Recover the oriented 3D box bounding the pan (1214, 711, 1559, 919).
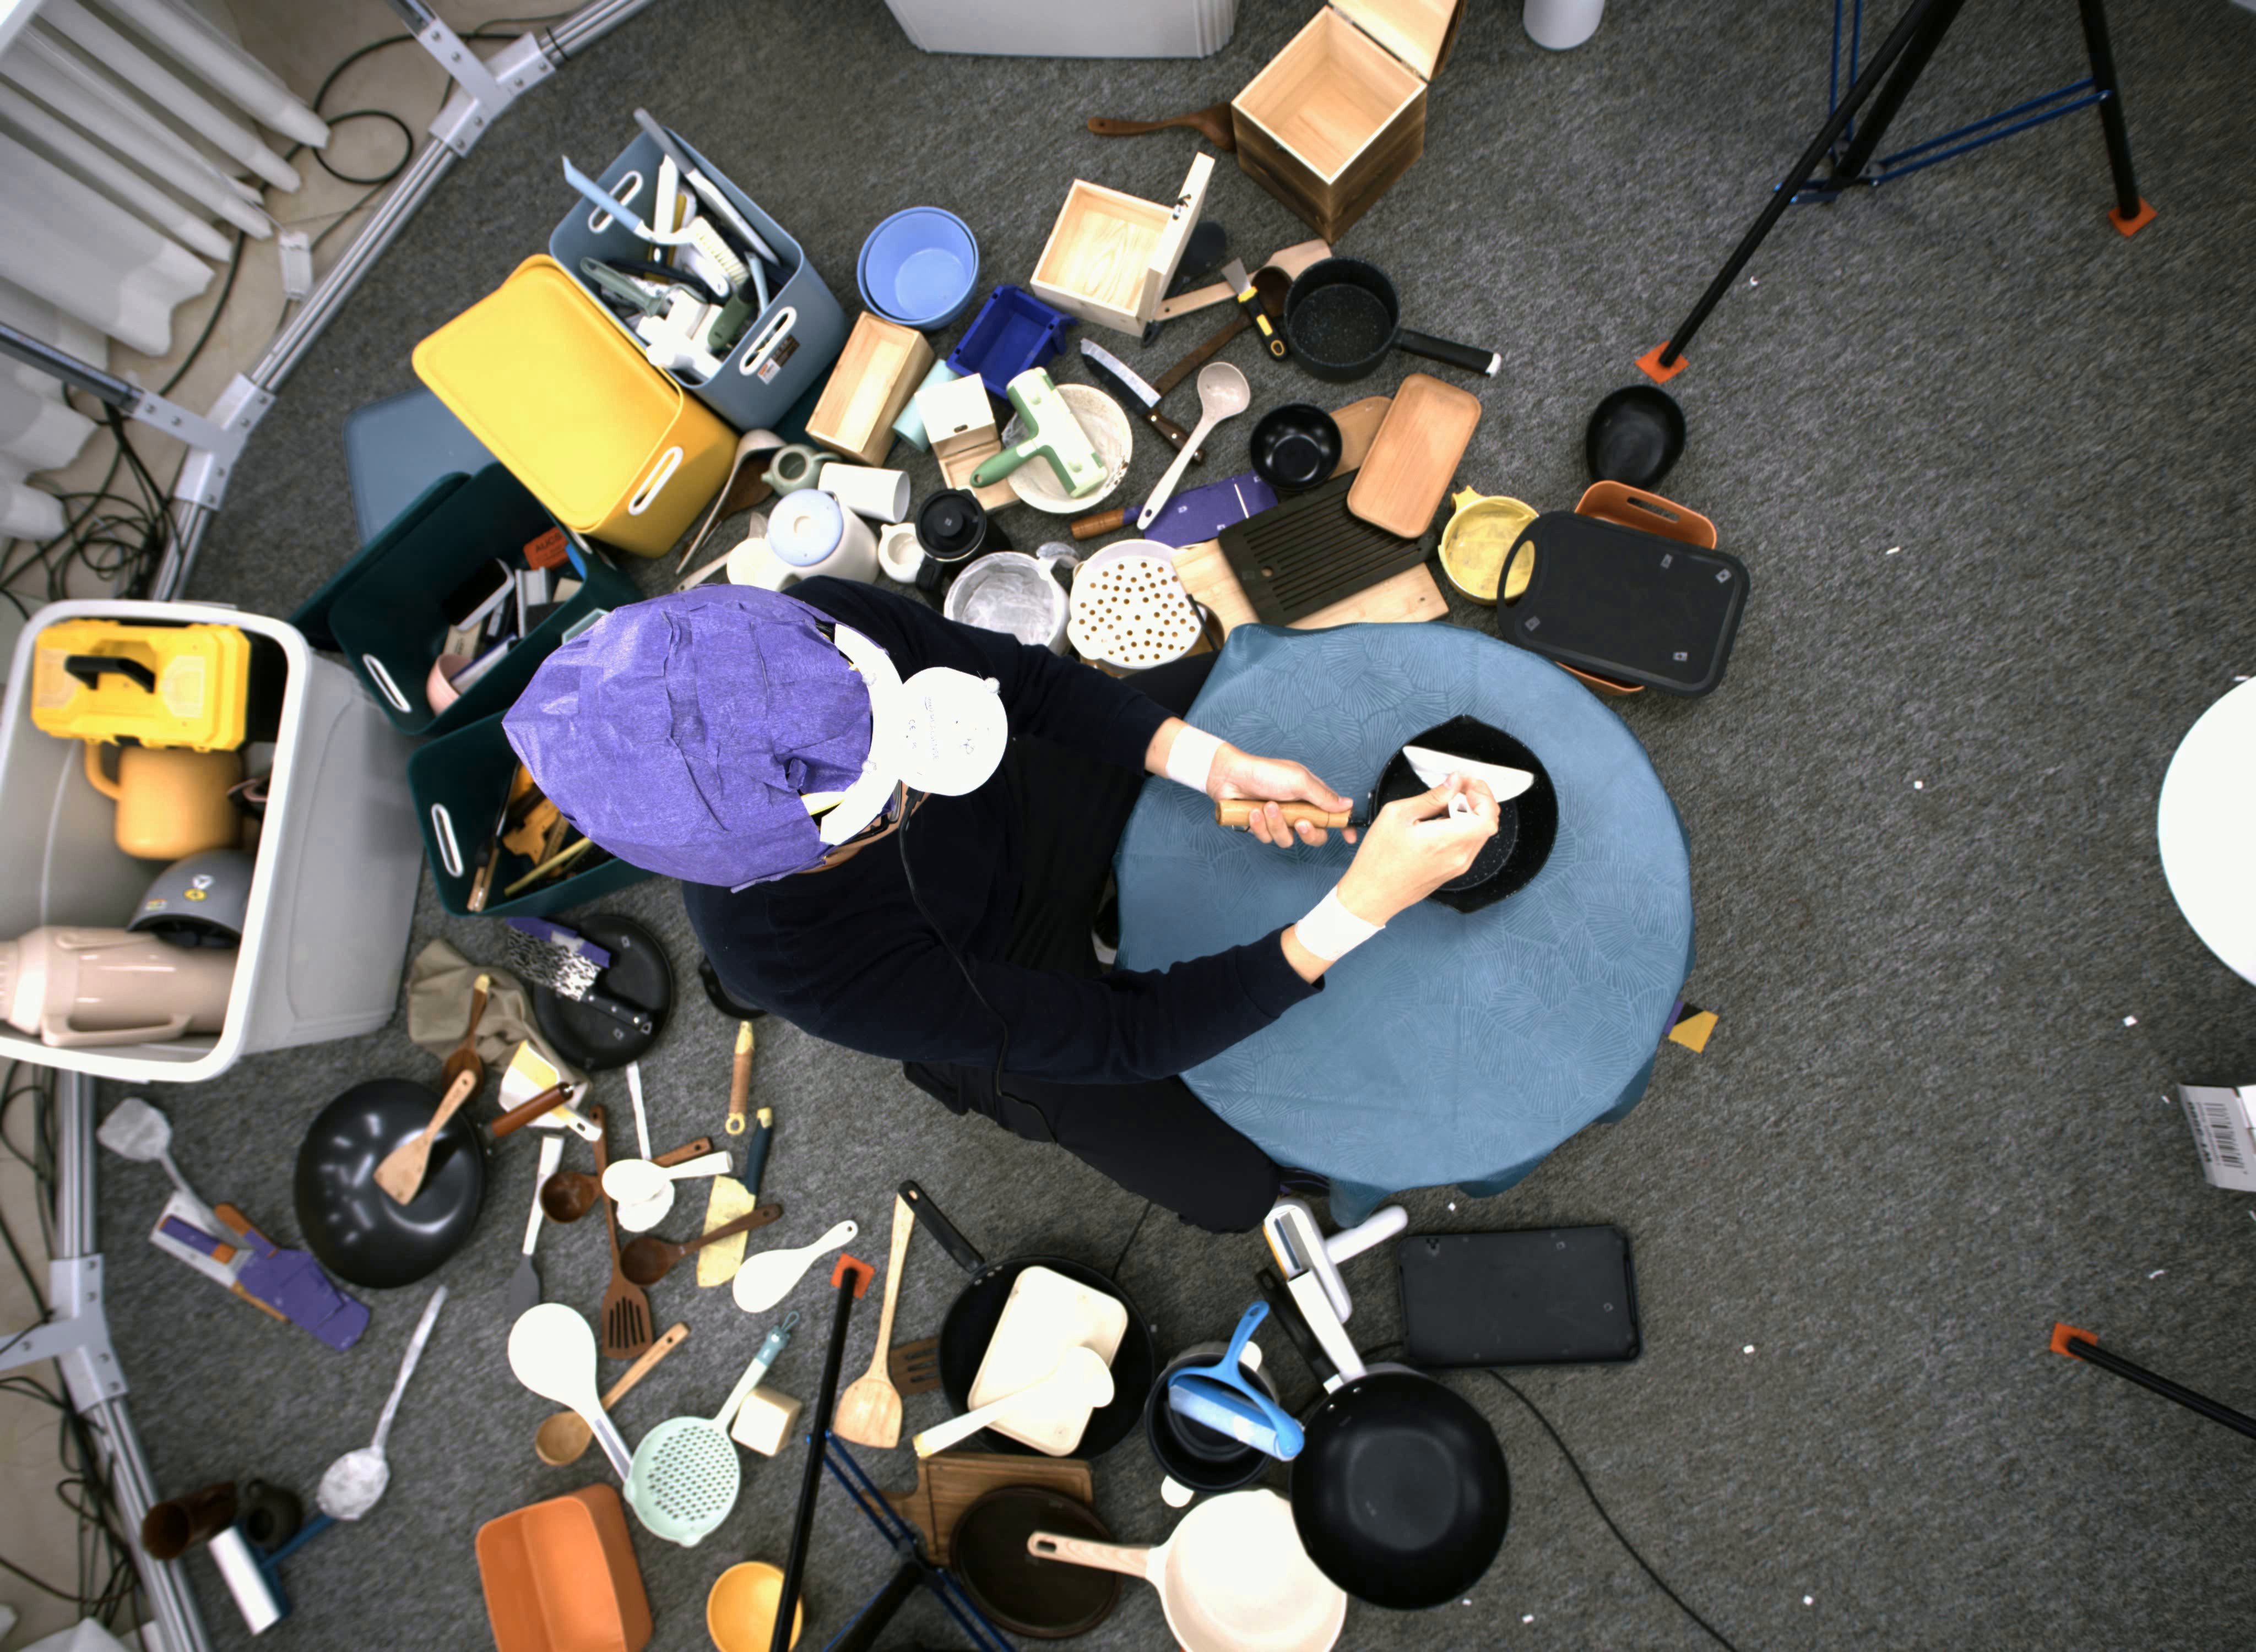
[{"bbox_3d":[0.255,-0.009,1.391,0.343,0.108,0.207,-1,88,1],"label":"pan"}]

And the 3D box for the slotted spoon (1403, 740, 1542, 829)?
[{"bbox_3d":[0.306,-0.038,1.232,0.137,0.345,0.050,15,97,11],"label":"slotted spoon"}]
